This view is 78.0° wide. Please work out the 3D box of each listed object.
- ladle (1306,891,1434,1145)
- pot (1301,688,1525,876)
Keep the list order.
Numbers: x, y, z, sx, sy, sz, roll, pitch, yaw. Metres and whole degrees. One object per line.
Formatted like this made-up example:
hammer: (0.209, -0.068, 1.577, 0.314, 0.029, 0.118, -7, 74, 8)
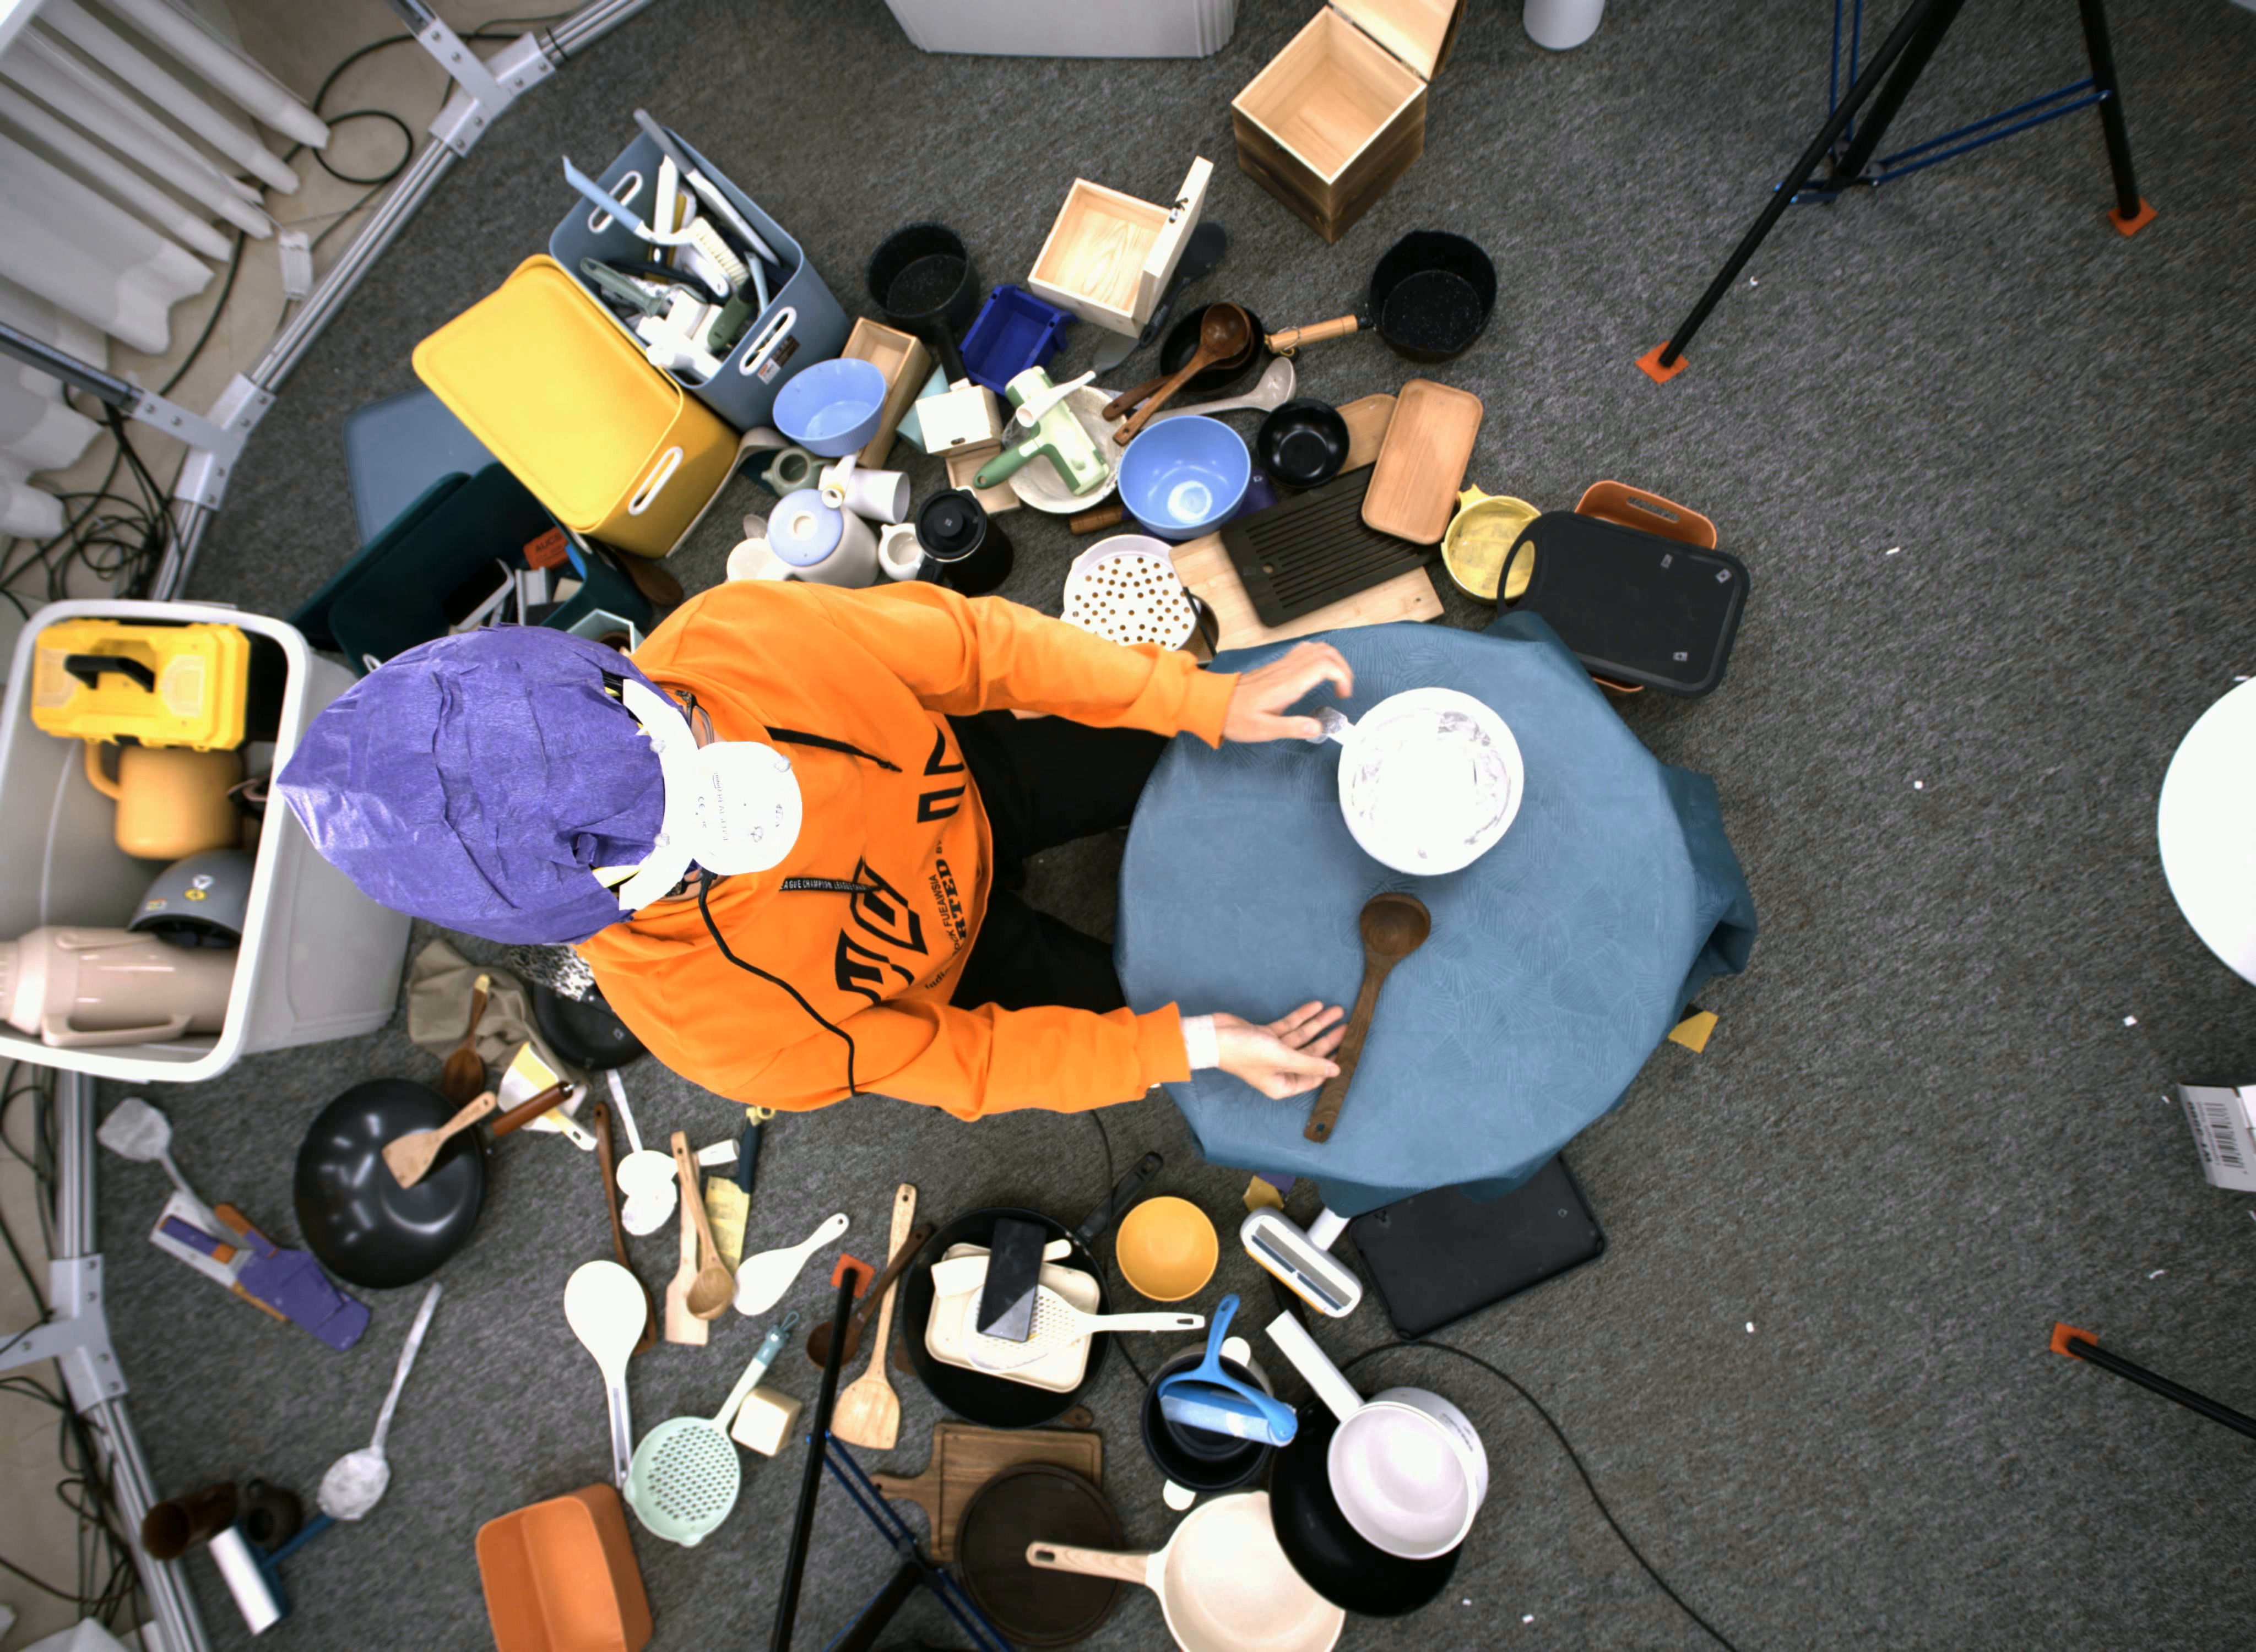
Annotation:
ladle: (0.240, 0.198, 1.421, 0.076, 0.071, 0.273, 20, 89, 9)
pot: (0.279, -0.055, 1.396, 0.233, 0.137, 0.179, 30, 91, 10)
